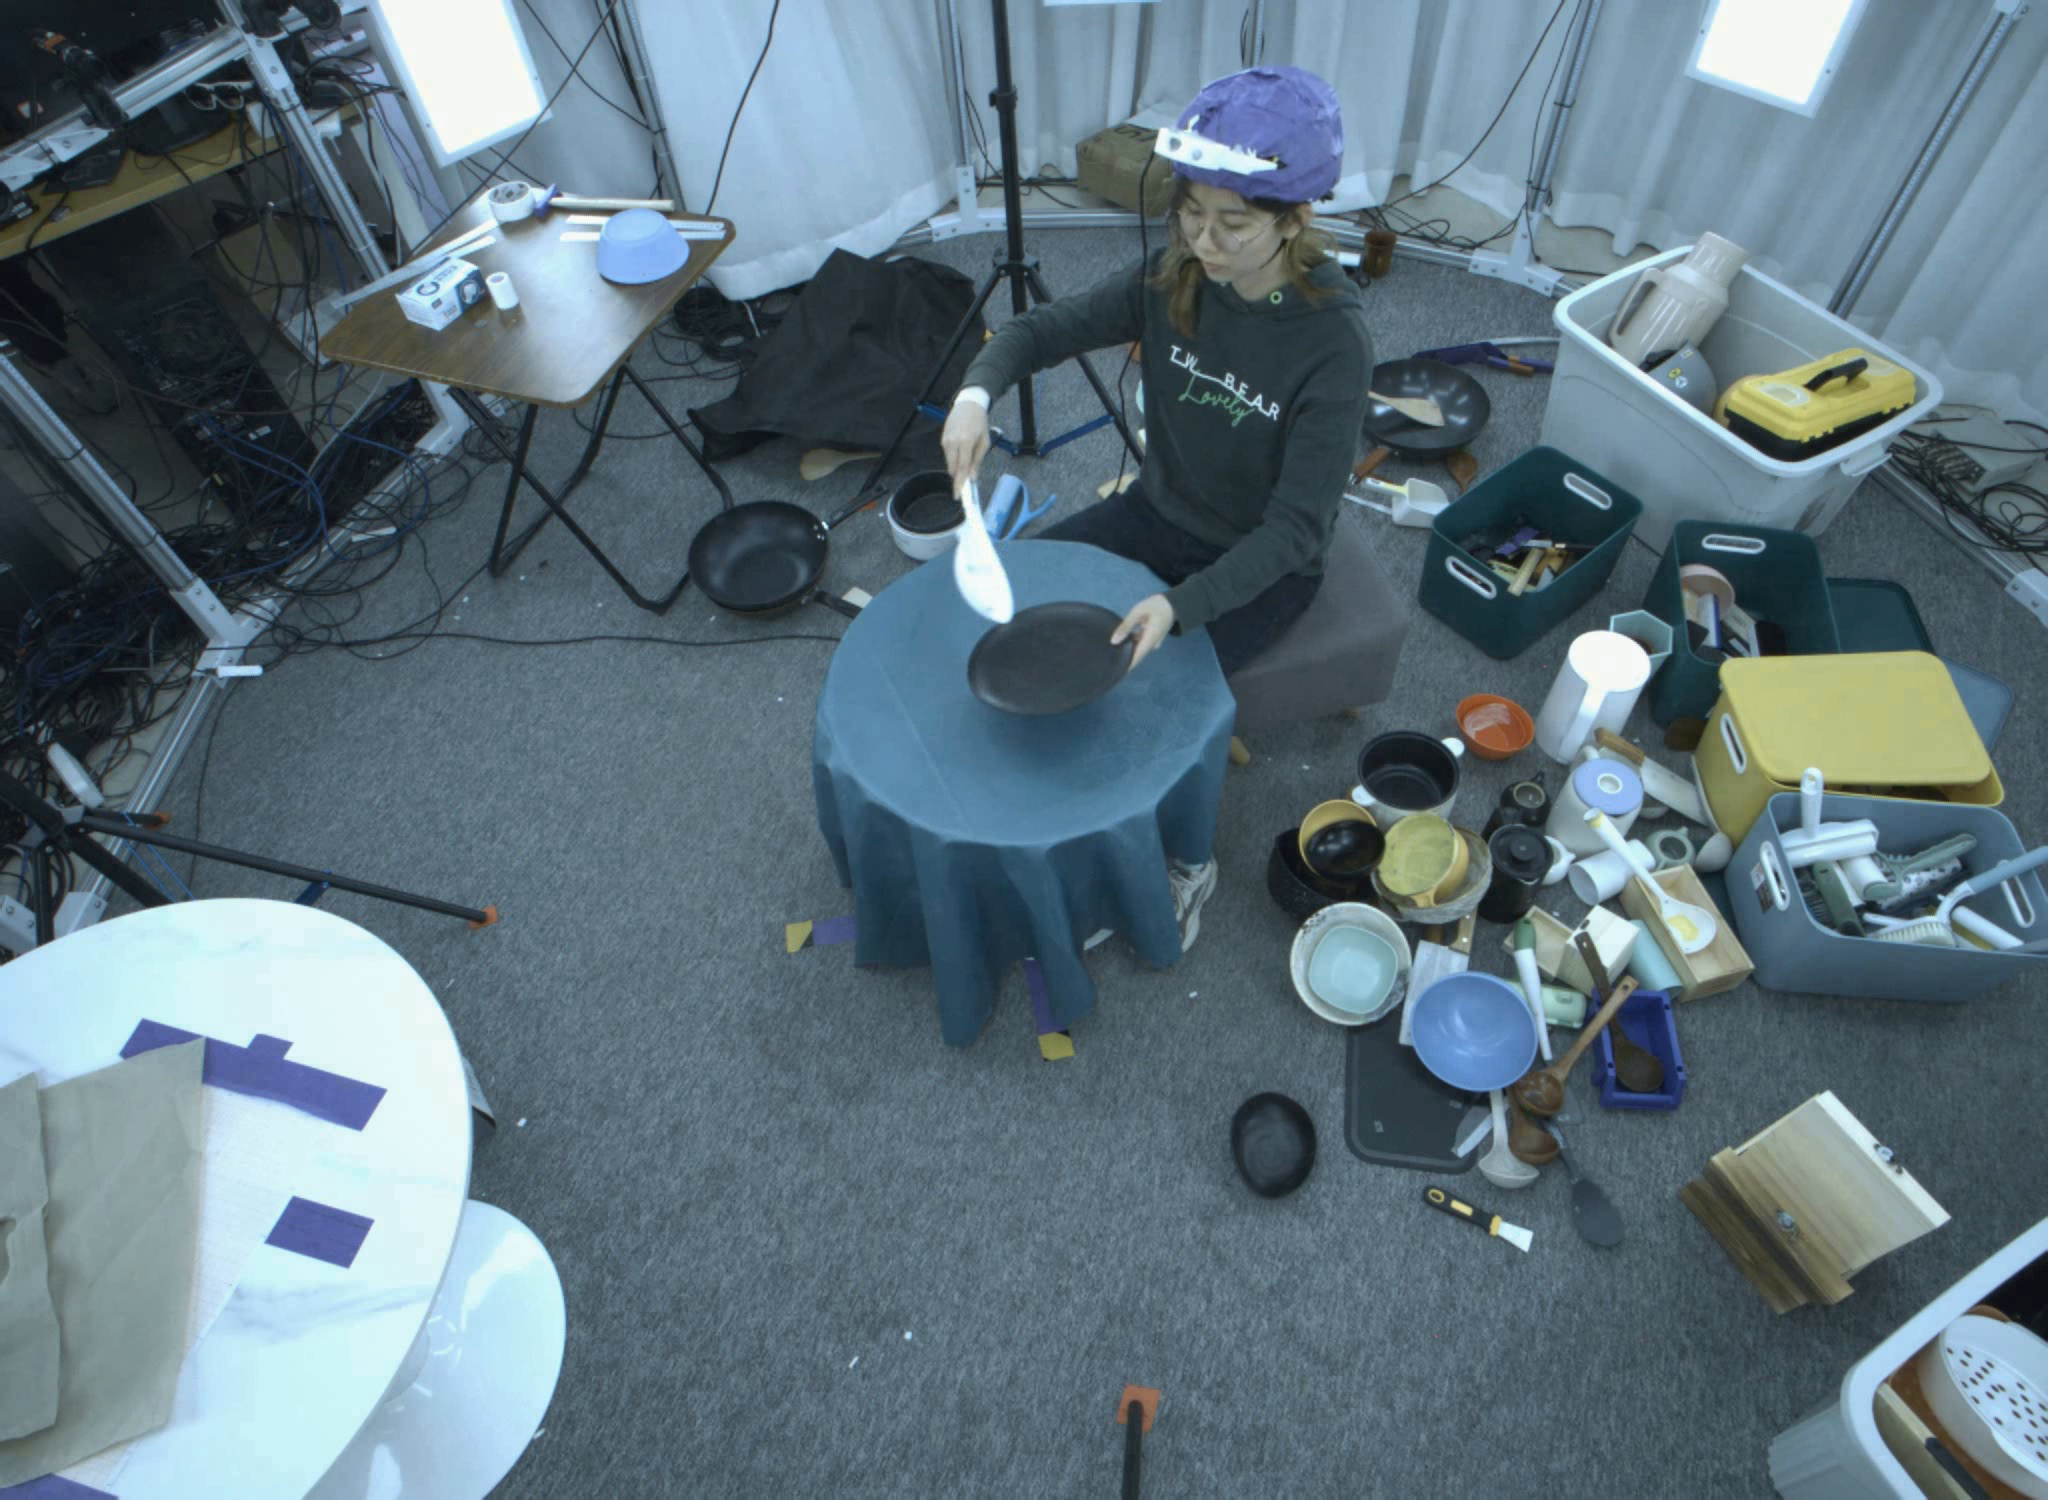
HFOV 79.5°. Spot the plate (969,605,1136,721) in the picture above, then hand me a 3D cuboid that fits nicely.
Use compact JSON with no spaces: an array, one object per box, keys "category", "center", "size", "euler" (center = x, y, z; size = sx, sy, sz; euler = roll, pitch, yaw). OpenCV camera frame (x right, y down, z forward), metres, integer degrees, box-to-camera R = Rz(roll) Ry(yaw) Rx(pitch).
[{"category":"plate","center":[0.042,-0.122,1.761],"size":[0.243,0.024,0.242],"euler":[-7,46,8]}]

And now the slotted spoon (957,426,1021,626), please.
[{"category":"slotted spoon","center":[-0.063,-0.330,1.759],"size":[0.045,0.139,0.346],"euler":[-16,67,21]}]
